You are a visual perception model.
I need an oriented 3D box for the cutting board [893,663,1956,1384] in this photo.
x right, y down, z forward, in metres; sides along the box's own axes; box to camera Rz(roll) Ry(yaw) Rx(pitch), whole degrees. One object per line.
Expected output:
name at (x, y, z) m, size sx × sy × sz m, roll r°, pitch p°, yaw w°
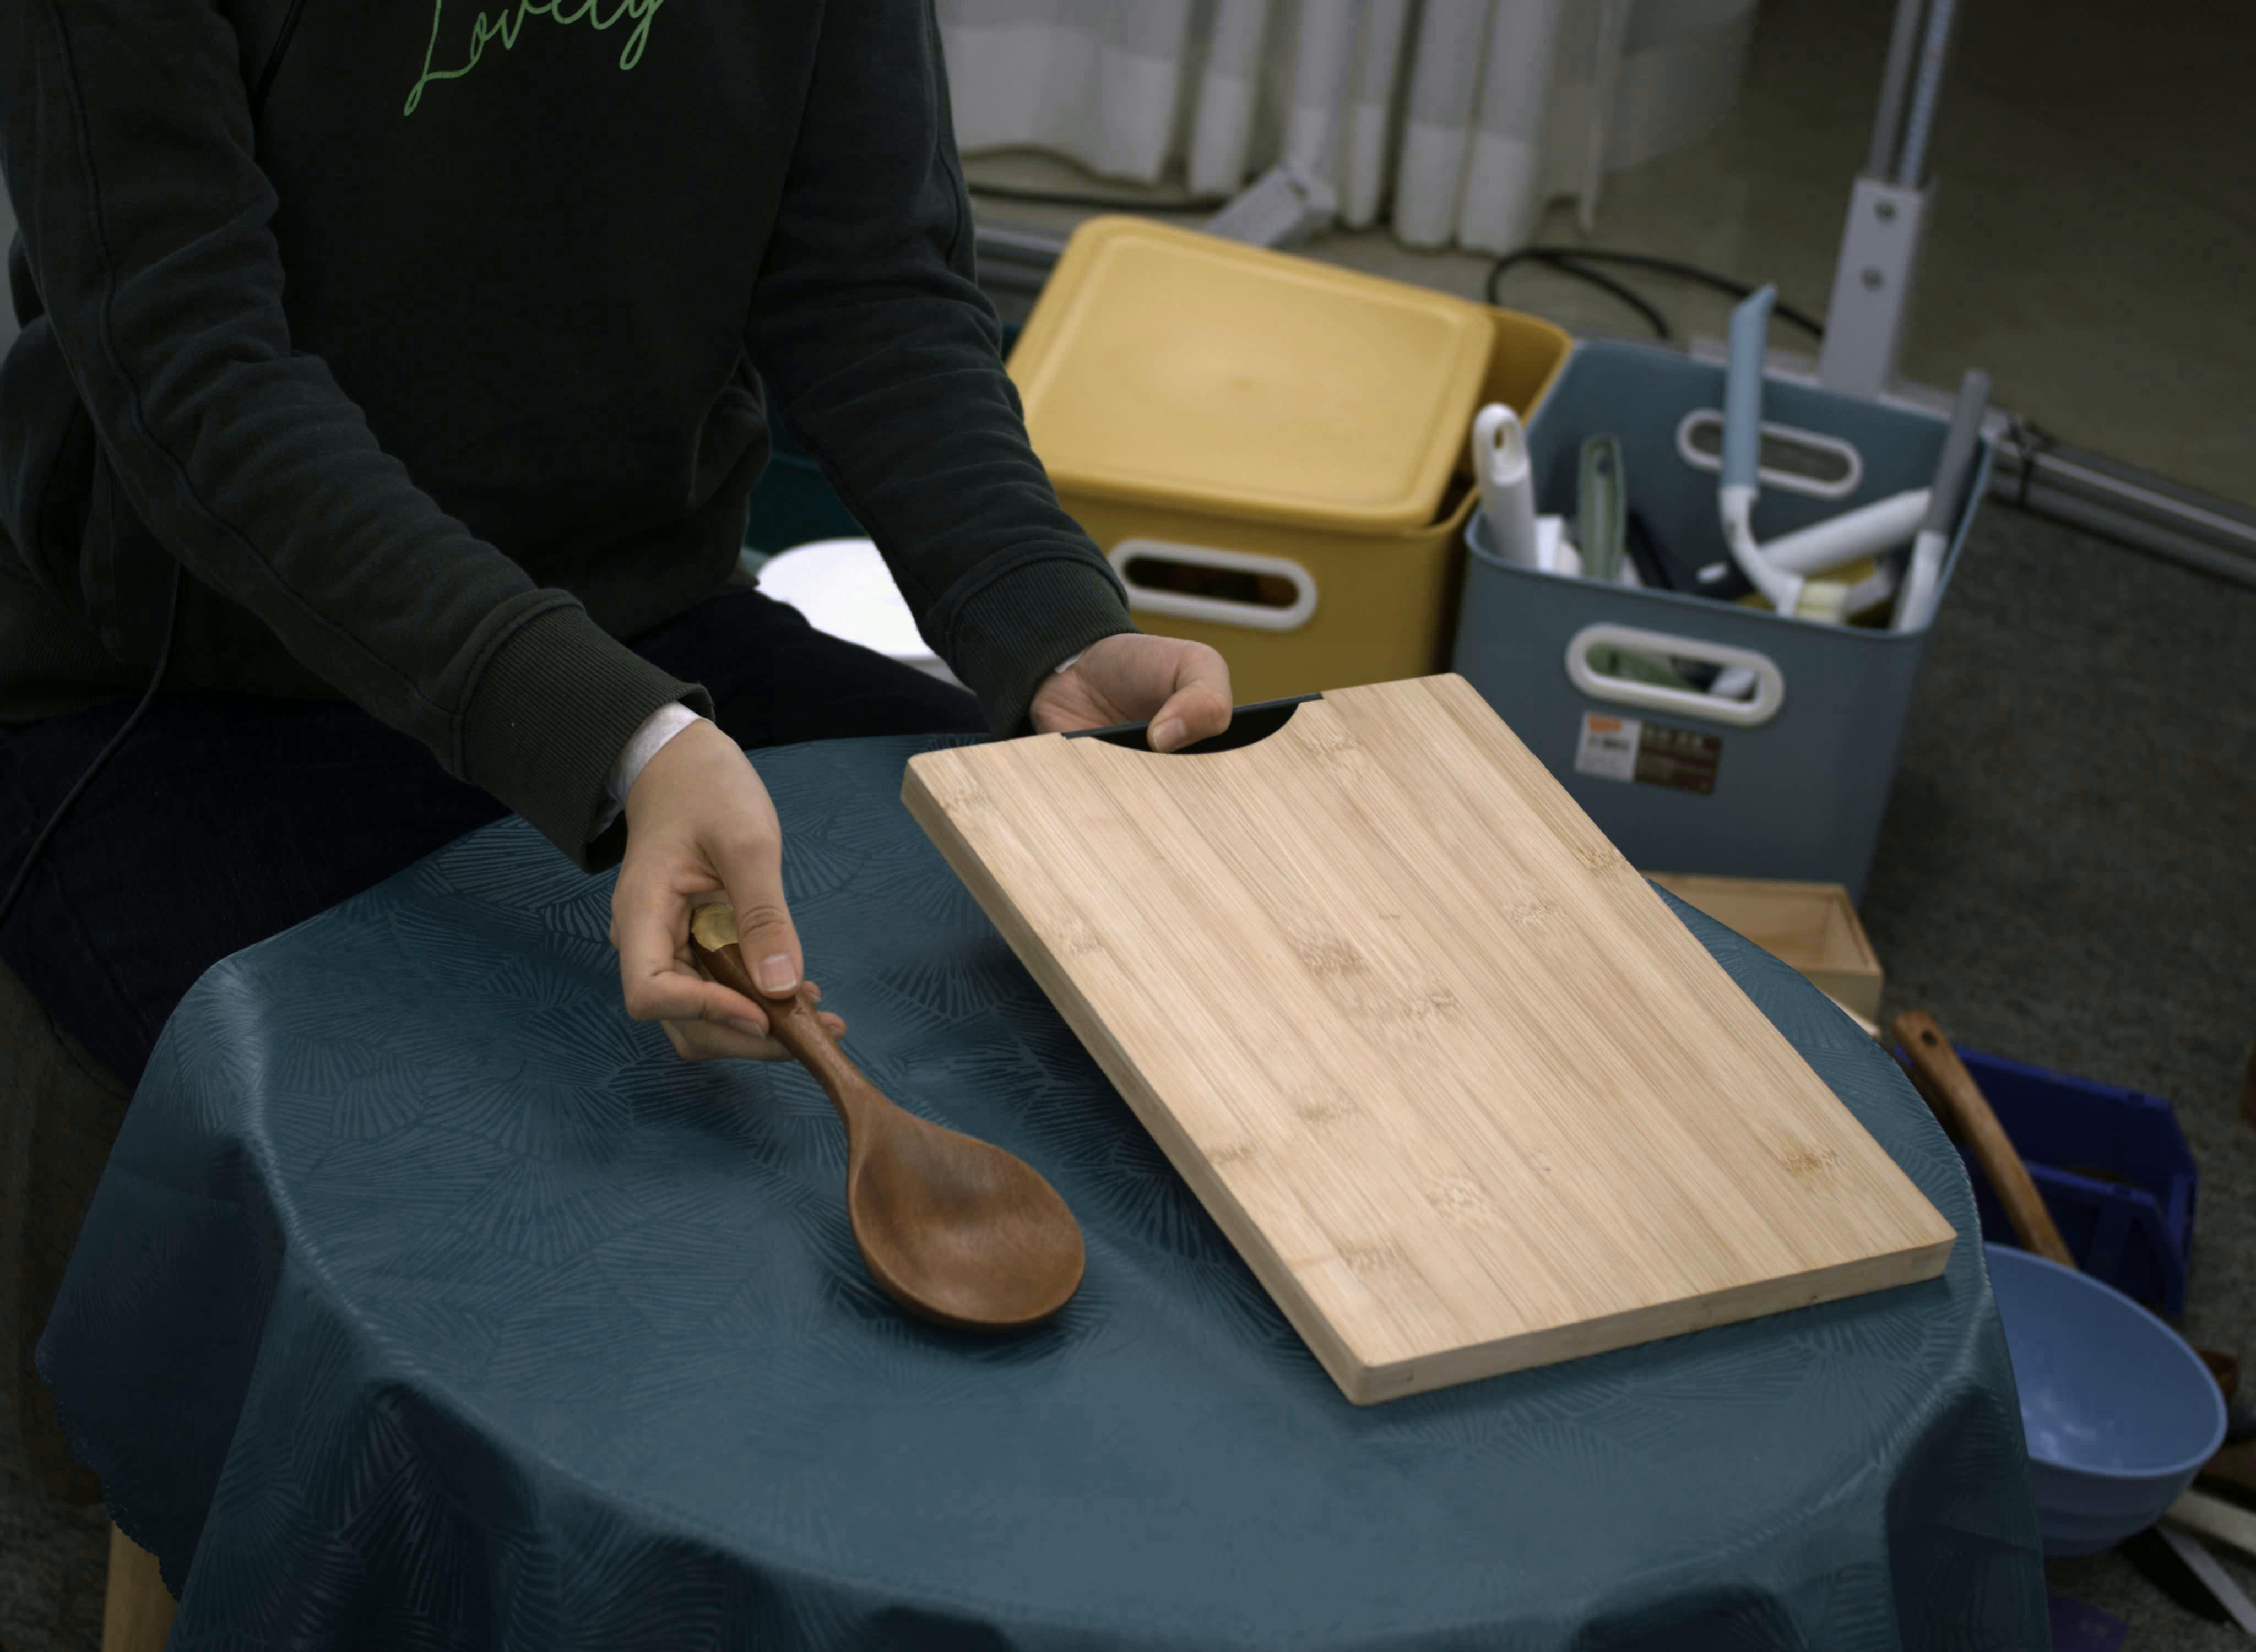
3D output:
cutting board at (0.097, 0.061, 1.866) m, size 0.249 × 0.023 × 0.352 m, roll -9°, pitch 40°, yaw -29°

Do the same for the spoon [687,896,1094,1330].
spoon at (-0.086, 0.094, 1.768) m, size 0.075 × 0.017 × 0.218 m, roll -19°, pitch 49°, yaw -28°
